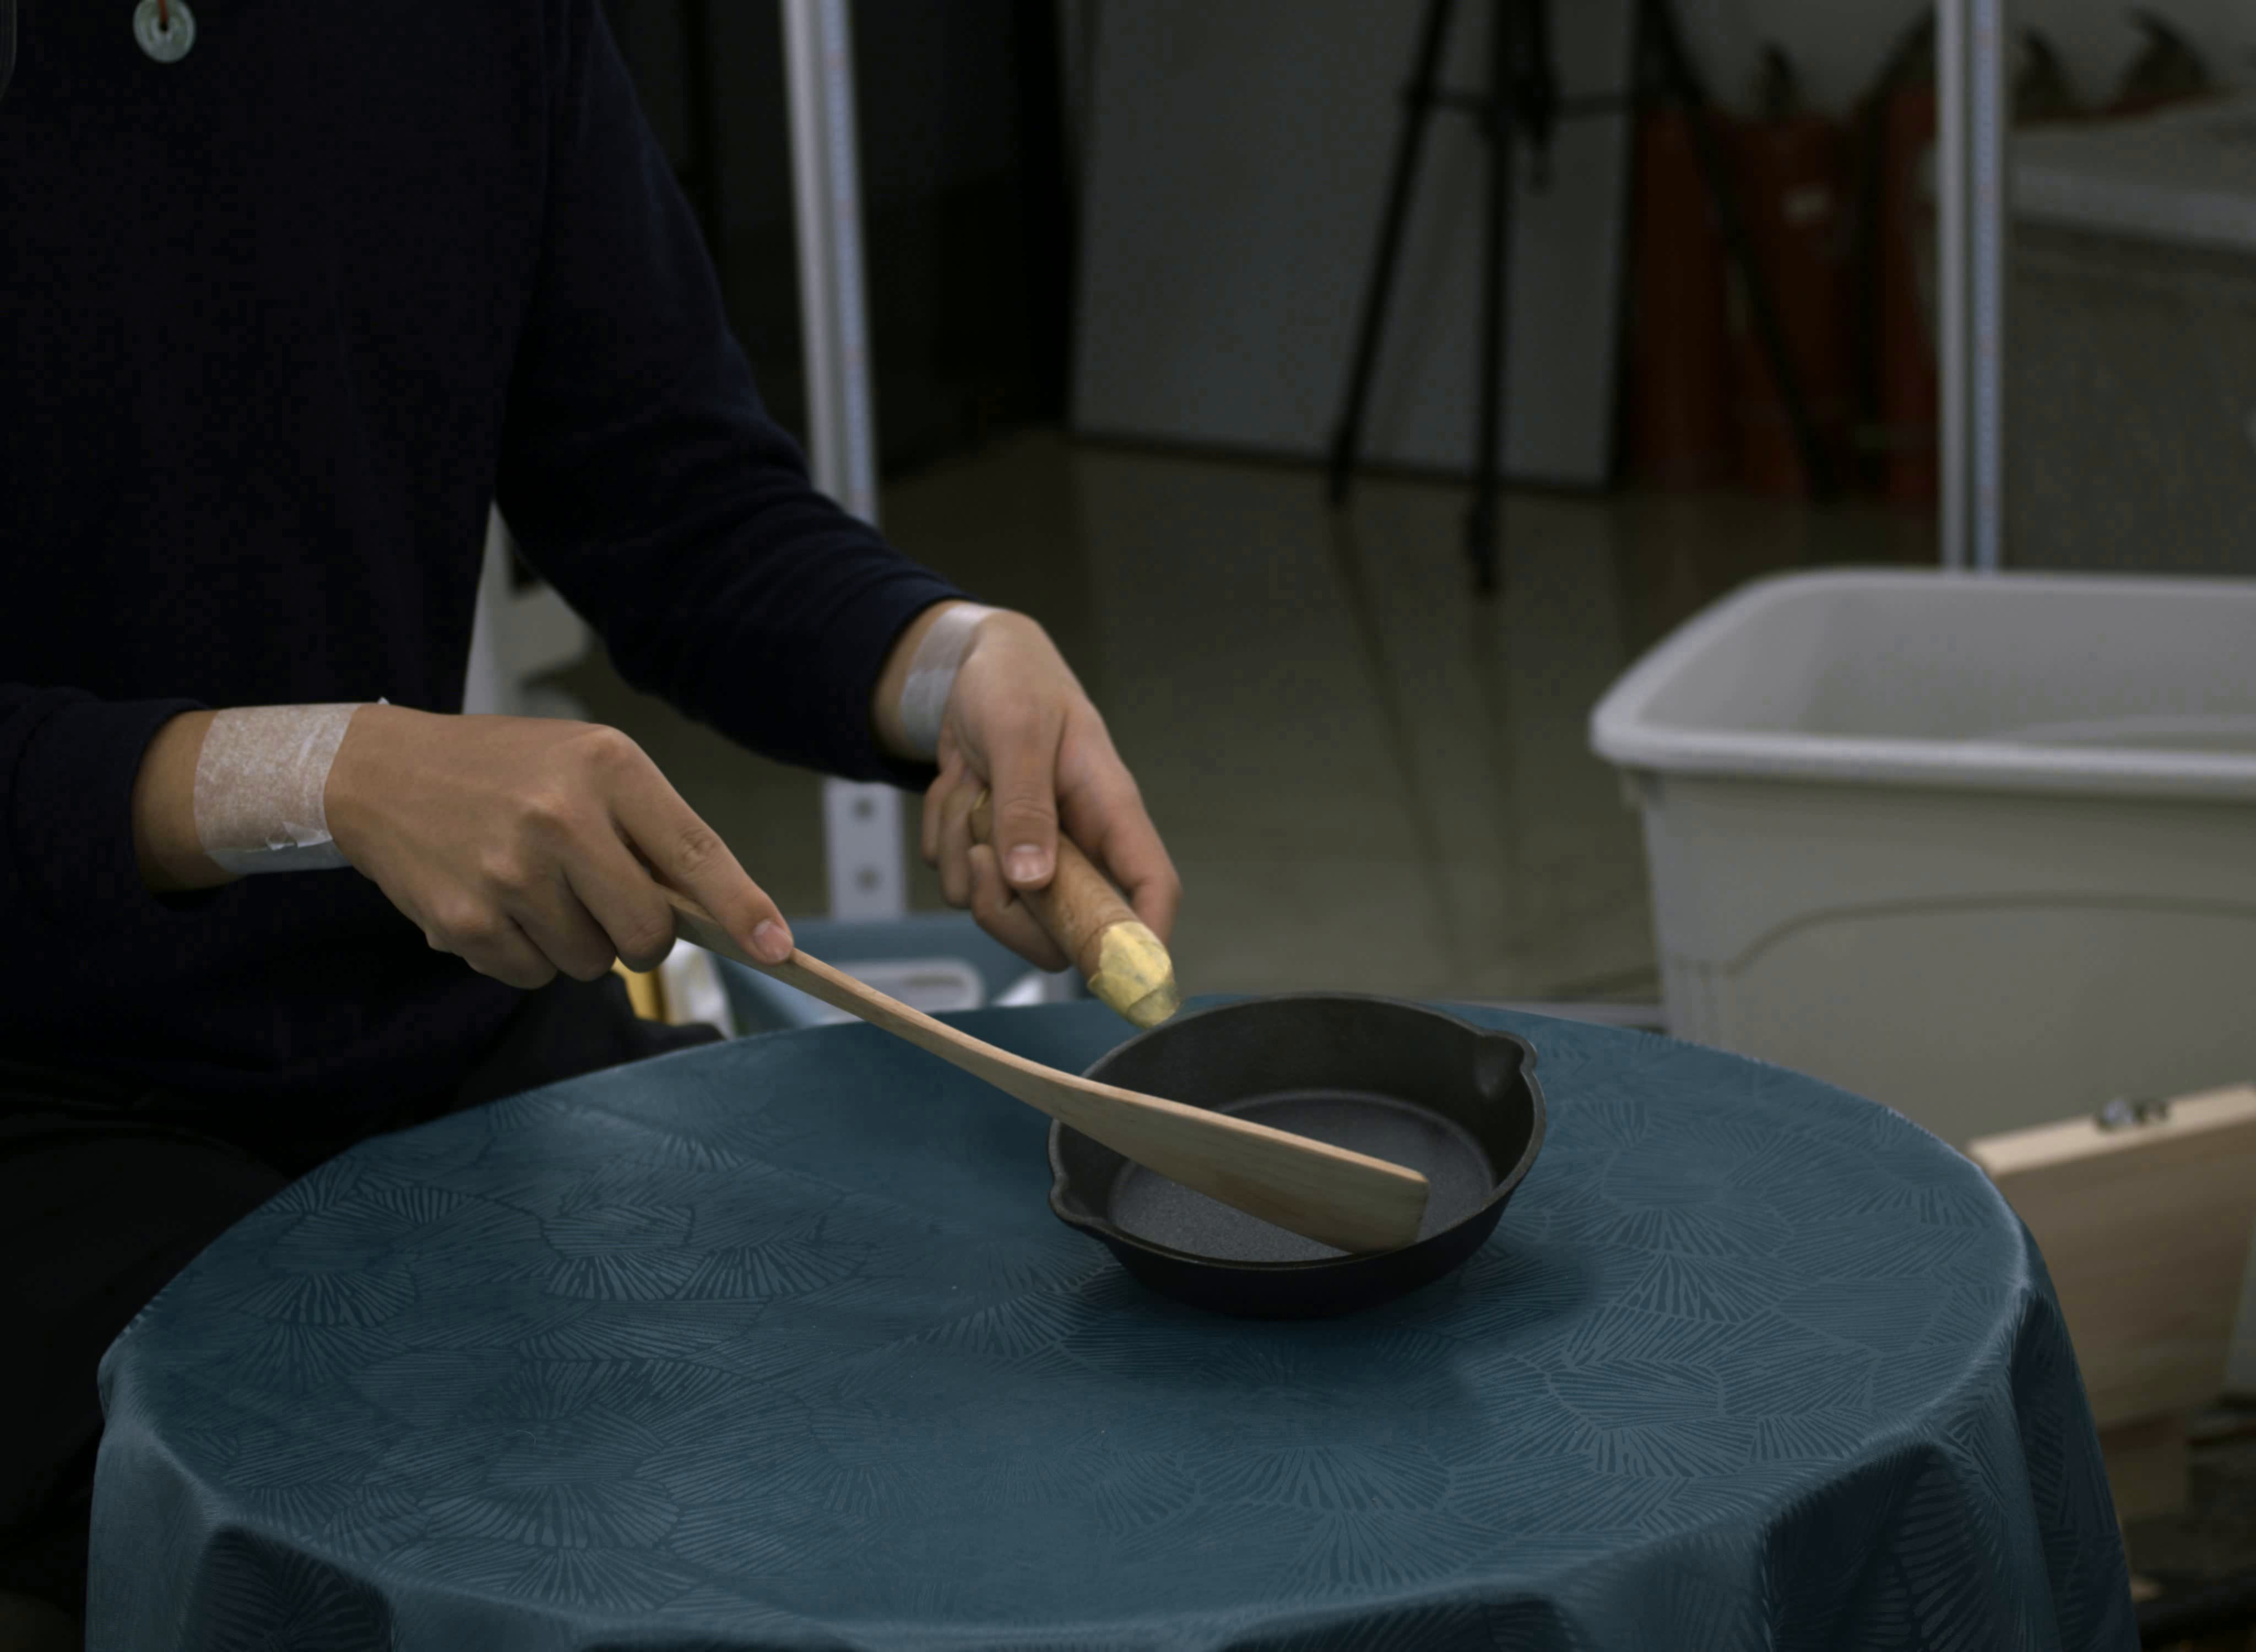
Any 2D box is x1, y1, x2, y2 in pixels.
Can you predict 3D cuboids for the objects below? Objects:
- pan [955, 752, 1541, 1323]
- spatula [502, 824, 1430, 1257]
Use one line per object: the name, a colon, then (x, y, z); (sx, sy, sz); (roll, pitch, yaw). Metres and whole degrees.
pan: (0.017, 0.063, 1.749); (0.166, 0.050, 0.328); (-18, 32, -17)
spatula: (-0.053, 0.063, 1.654); (0.328, 0.080, 0.016); (24, 67, 20)
